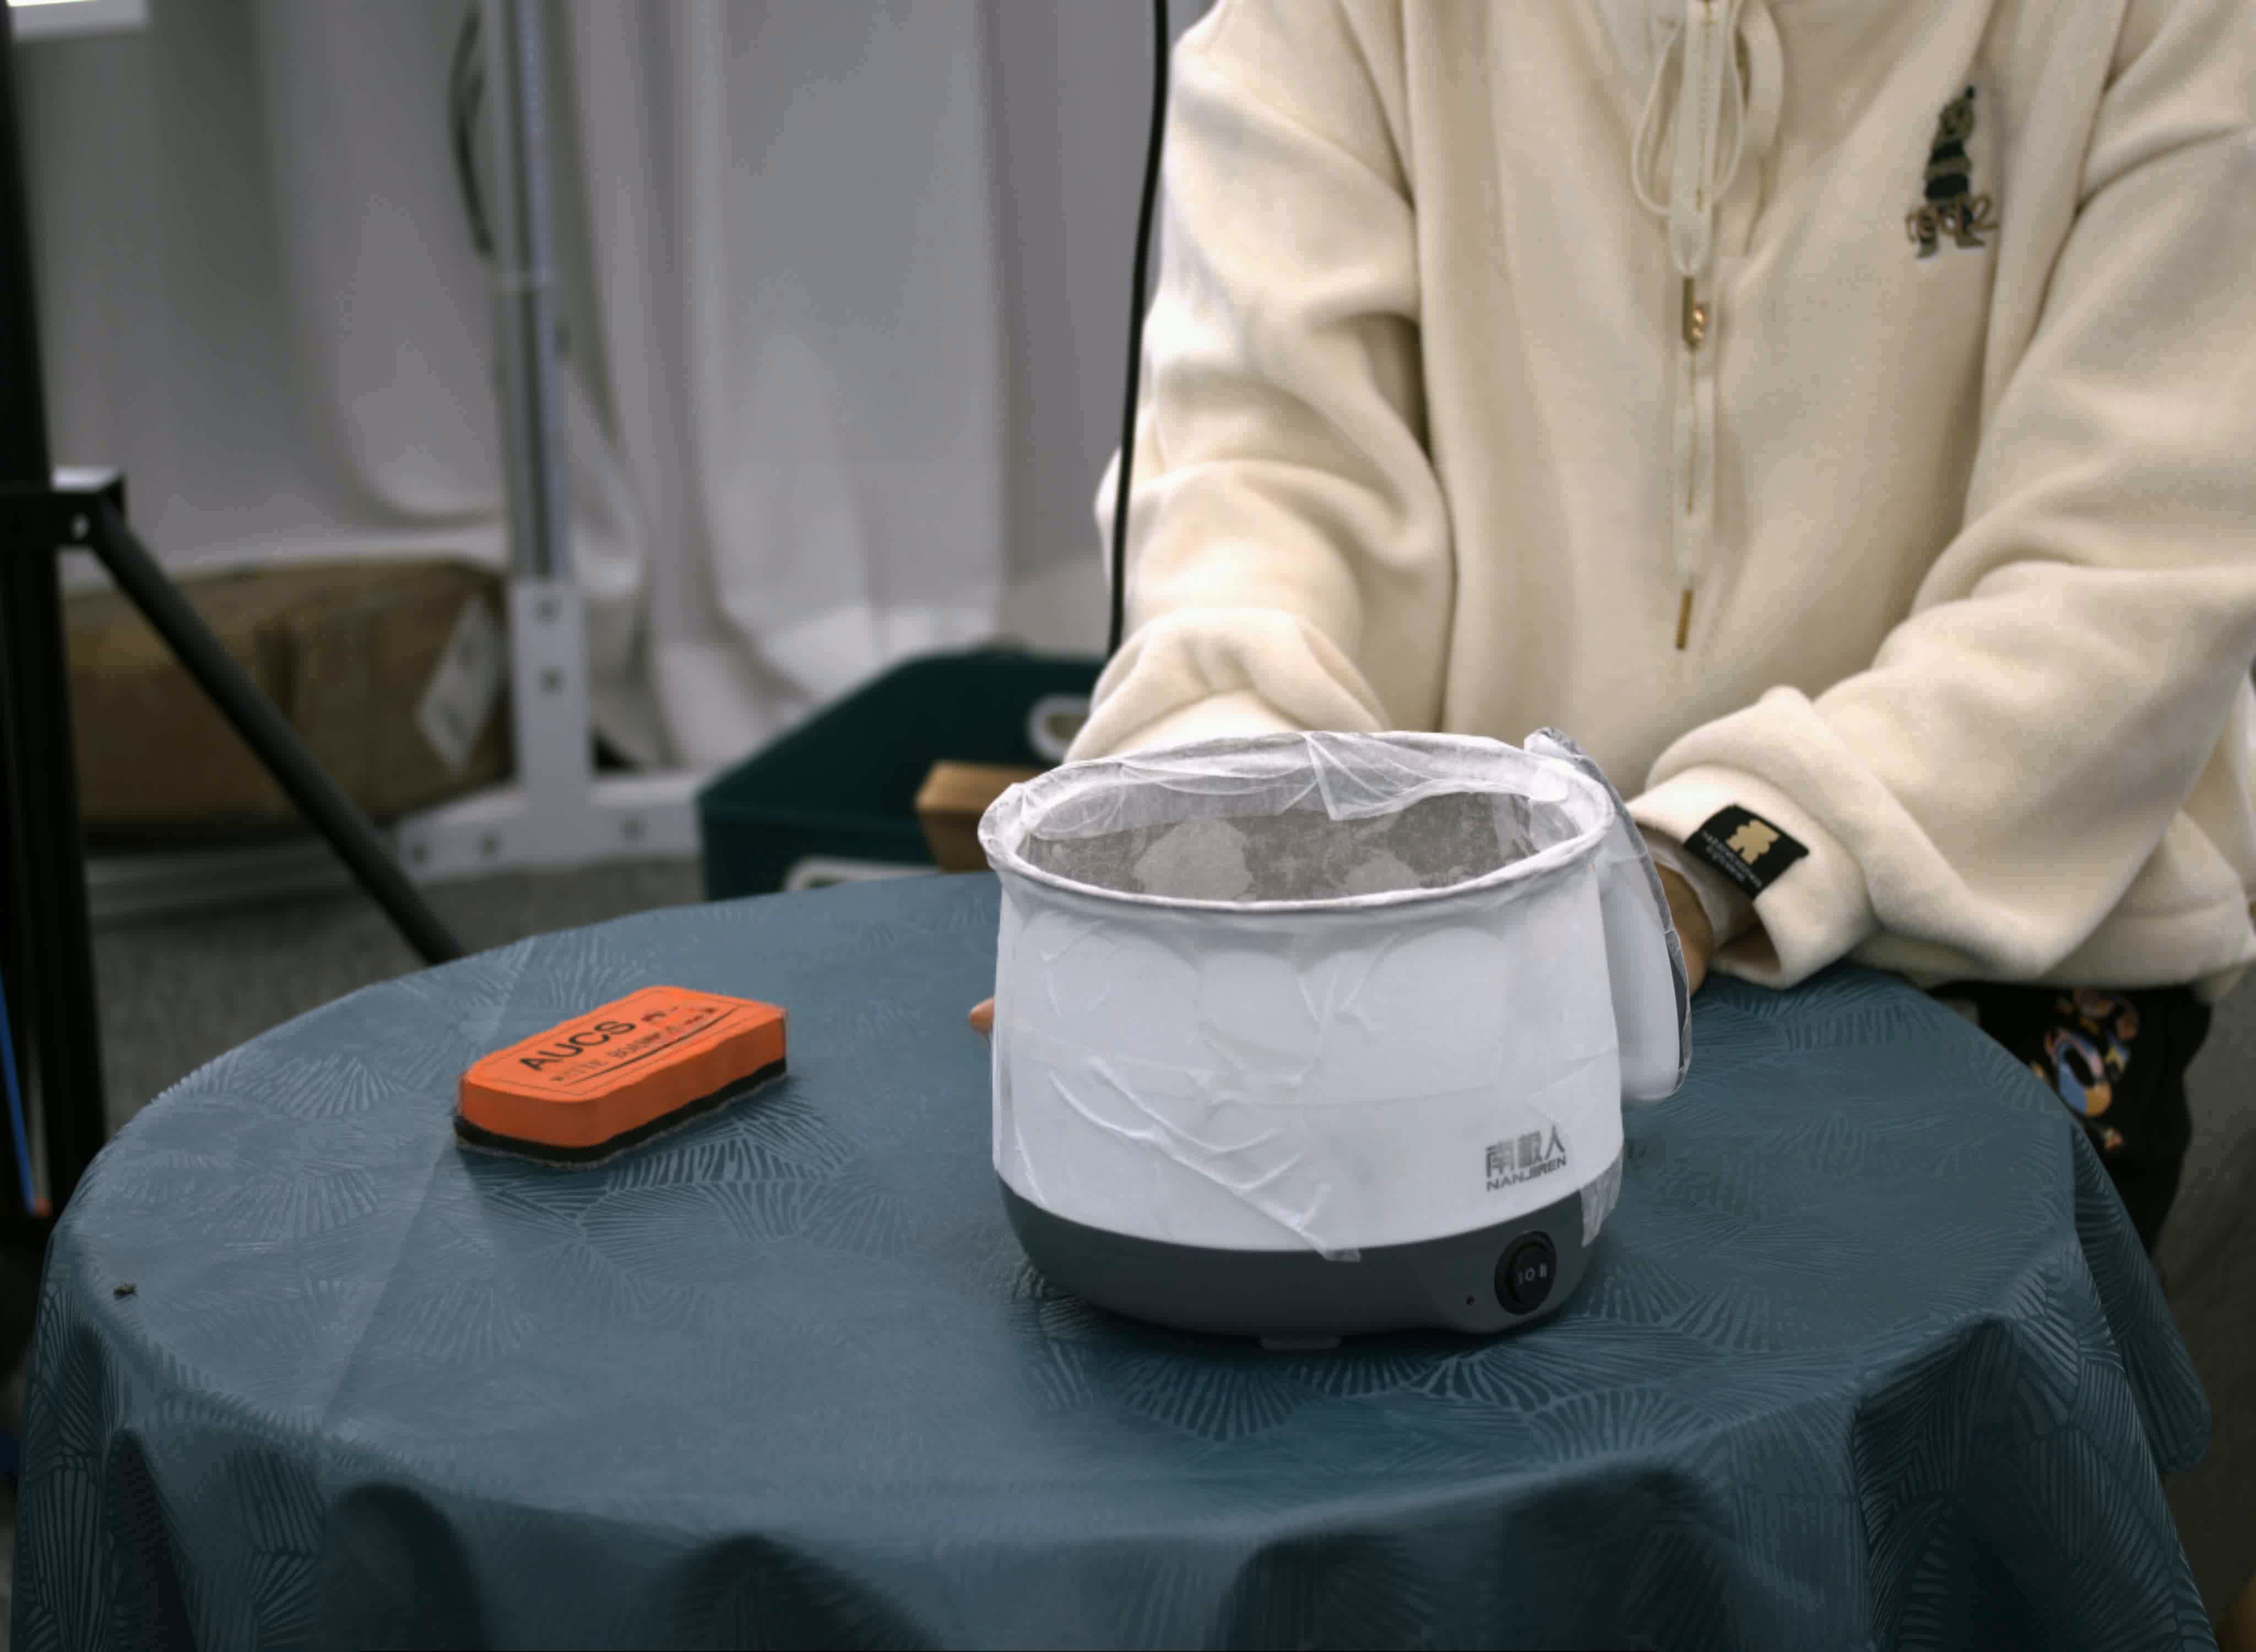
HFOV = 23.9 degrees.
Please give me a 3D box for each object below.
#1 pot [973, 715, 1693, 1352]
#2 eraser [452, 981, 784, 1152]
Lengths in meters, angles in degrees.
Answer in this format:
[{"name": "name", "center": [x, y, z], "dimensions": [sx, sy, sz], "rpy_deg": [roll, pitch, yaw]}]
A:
[{"name": "pot", "center": [0.069, 0.050, 1.493], "dimensions": [0.228, 0.136, 0.183], "rpy_deg": [-17, 21, -39]}, {"name": "eraser", "center": [-0.157, 0.074, 1.649], "dimensions": [0.060, 0.023, 0.106], "rpy_deg": [8, 17, 33]}]
